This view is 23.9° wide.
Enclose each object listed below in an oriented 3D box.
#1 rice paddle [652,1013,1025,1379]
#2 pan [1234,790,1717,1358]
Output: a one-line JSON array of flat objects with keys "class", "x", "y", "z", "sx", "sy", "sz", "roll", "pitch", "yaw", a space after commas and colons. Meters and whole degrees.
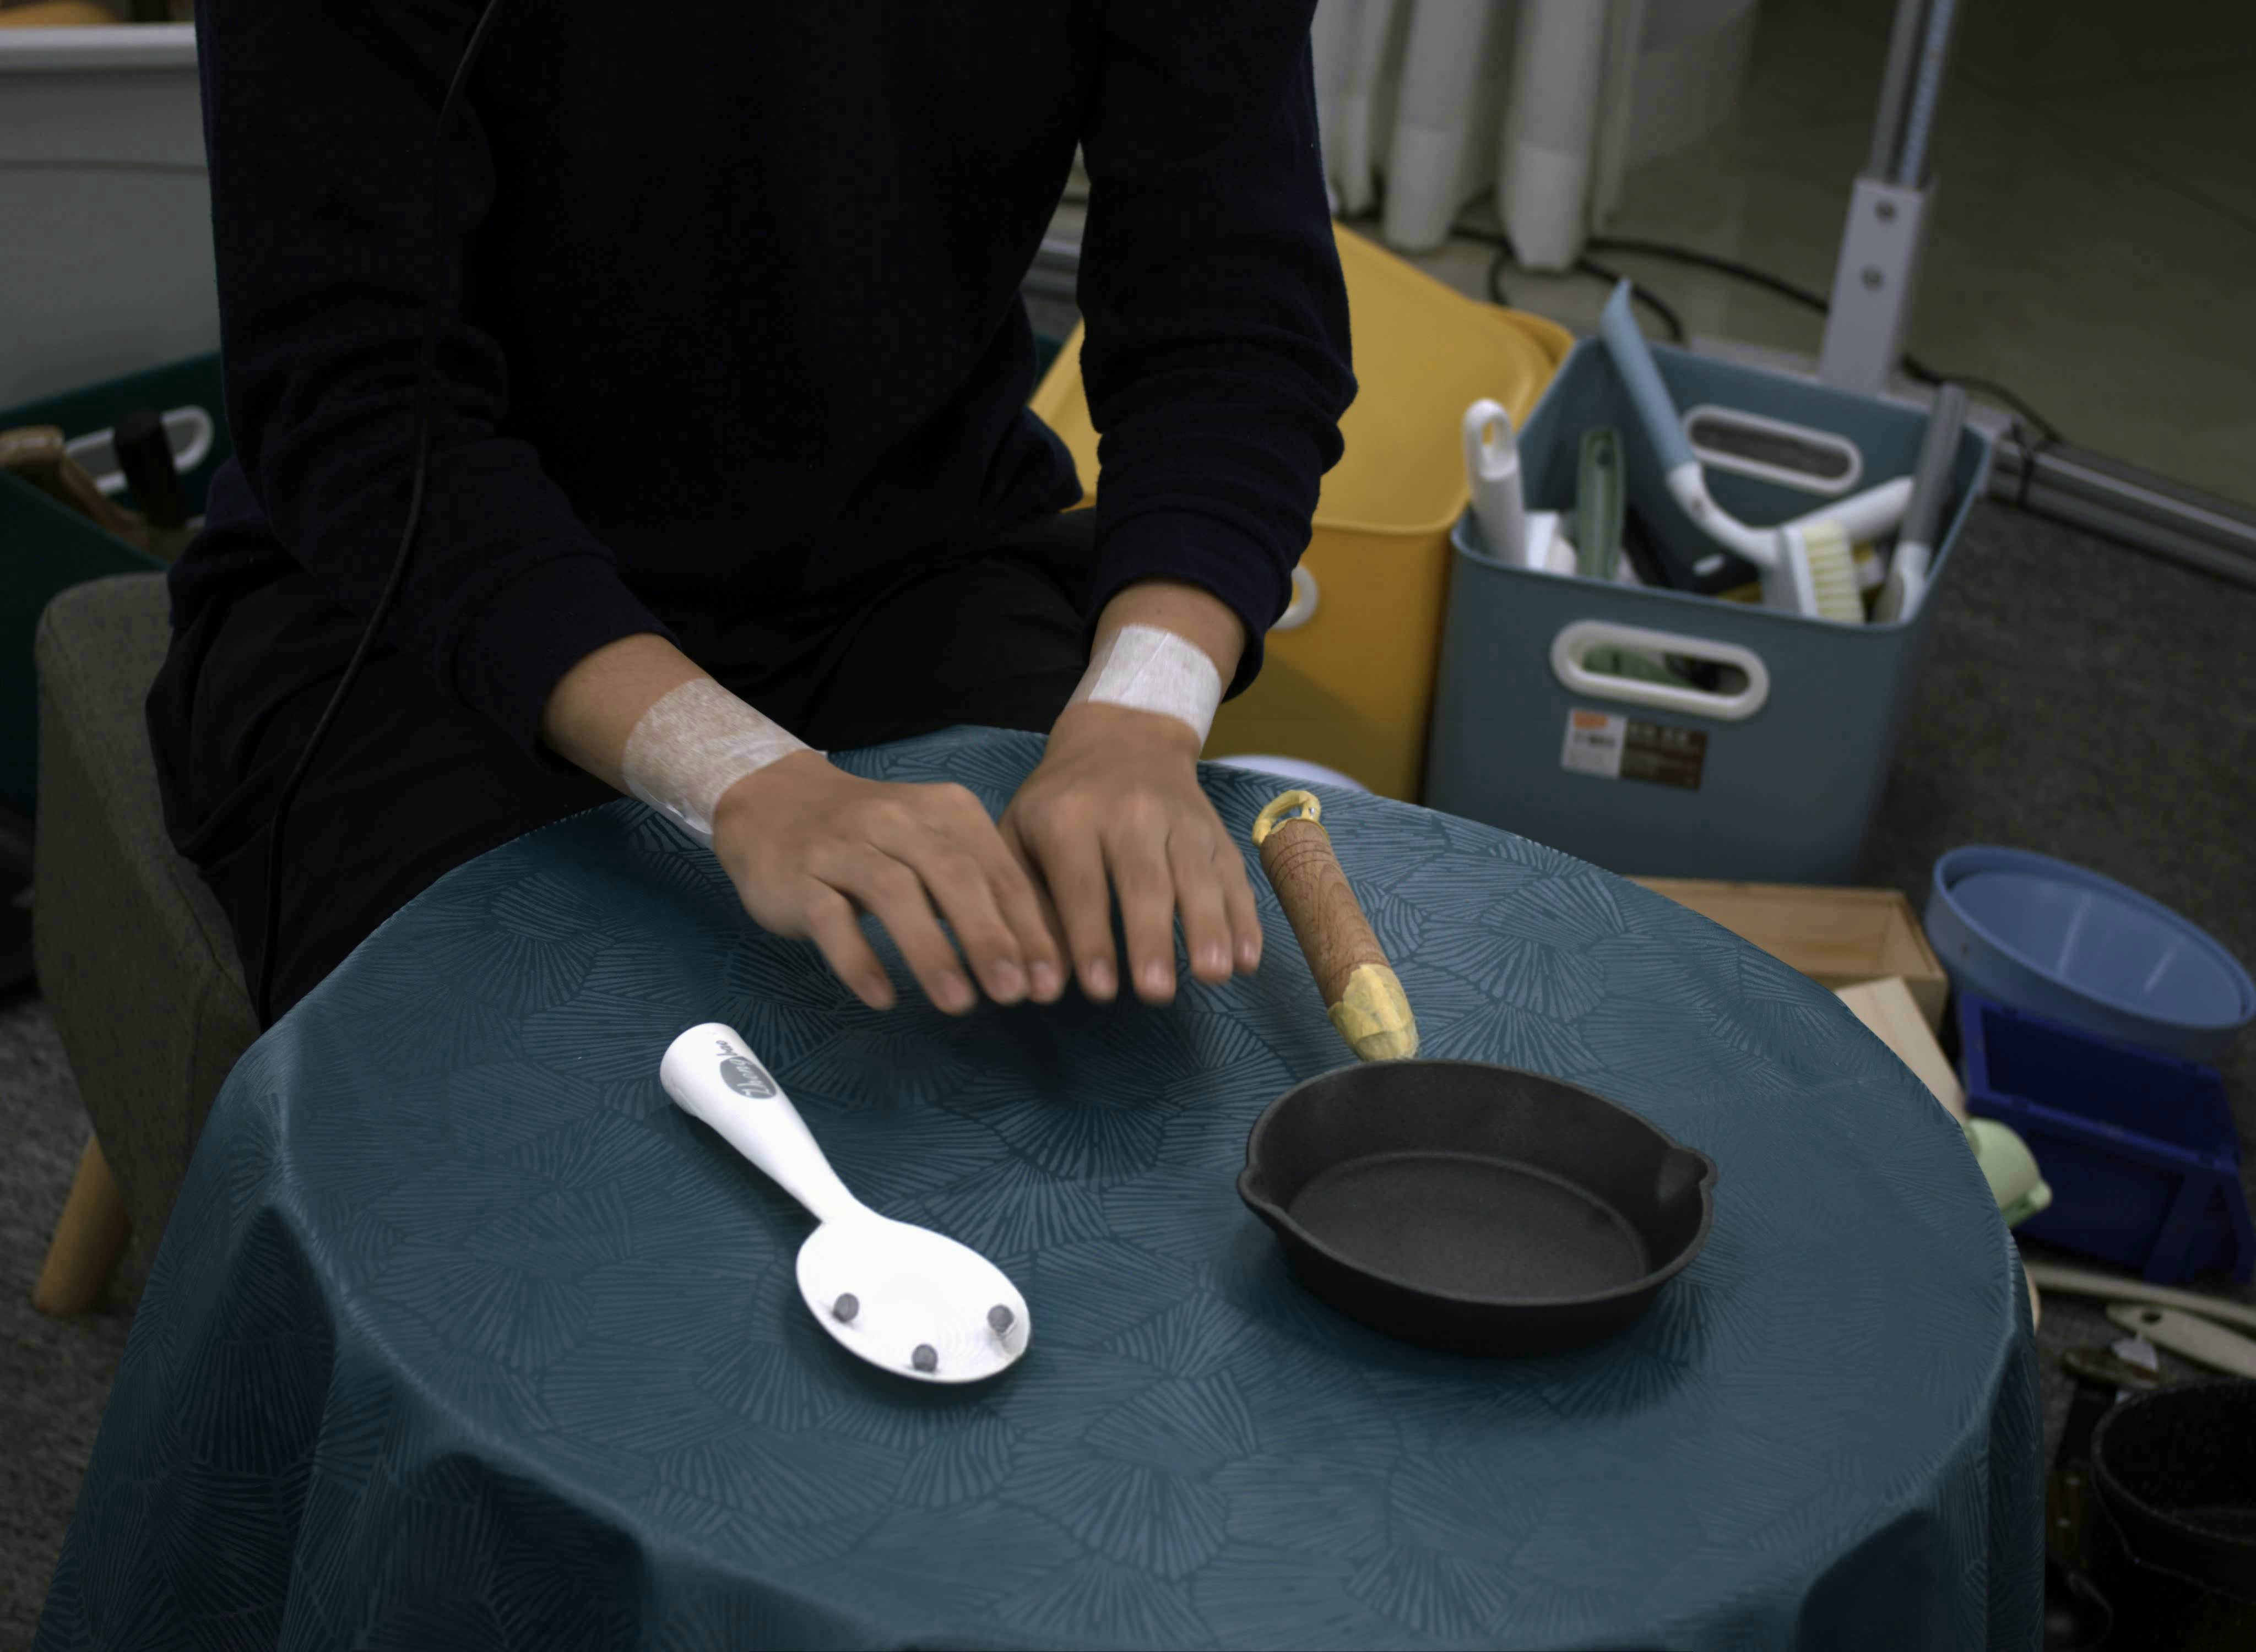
[{"class": "rice paddle", "x": -0.099, "y": 0.124, "z": 1.755, "sx": 0.068, "sy": 0.029, "sz": 0.207, "roll": -11, "pitch": 33, "yaw": -28}, {"class": "pan", "x": 0.096, "y": 0.083, "z": 1.848, "sx": 0.168, "sy": 0.049, "sz": 0.327, "roll": -1, "pitch": 29, "yaw": -15}]
